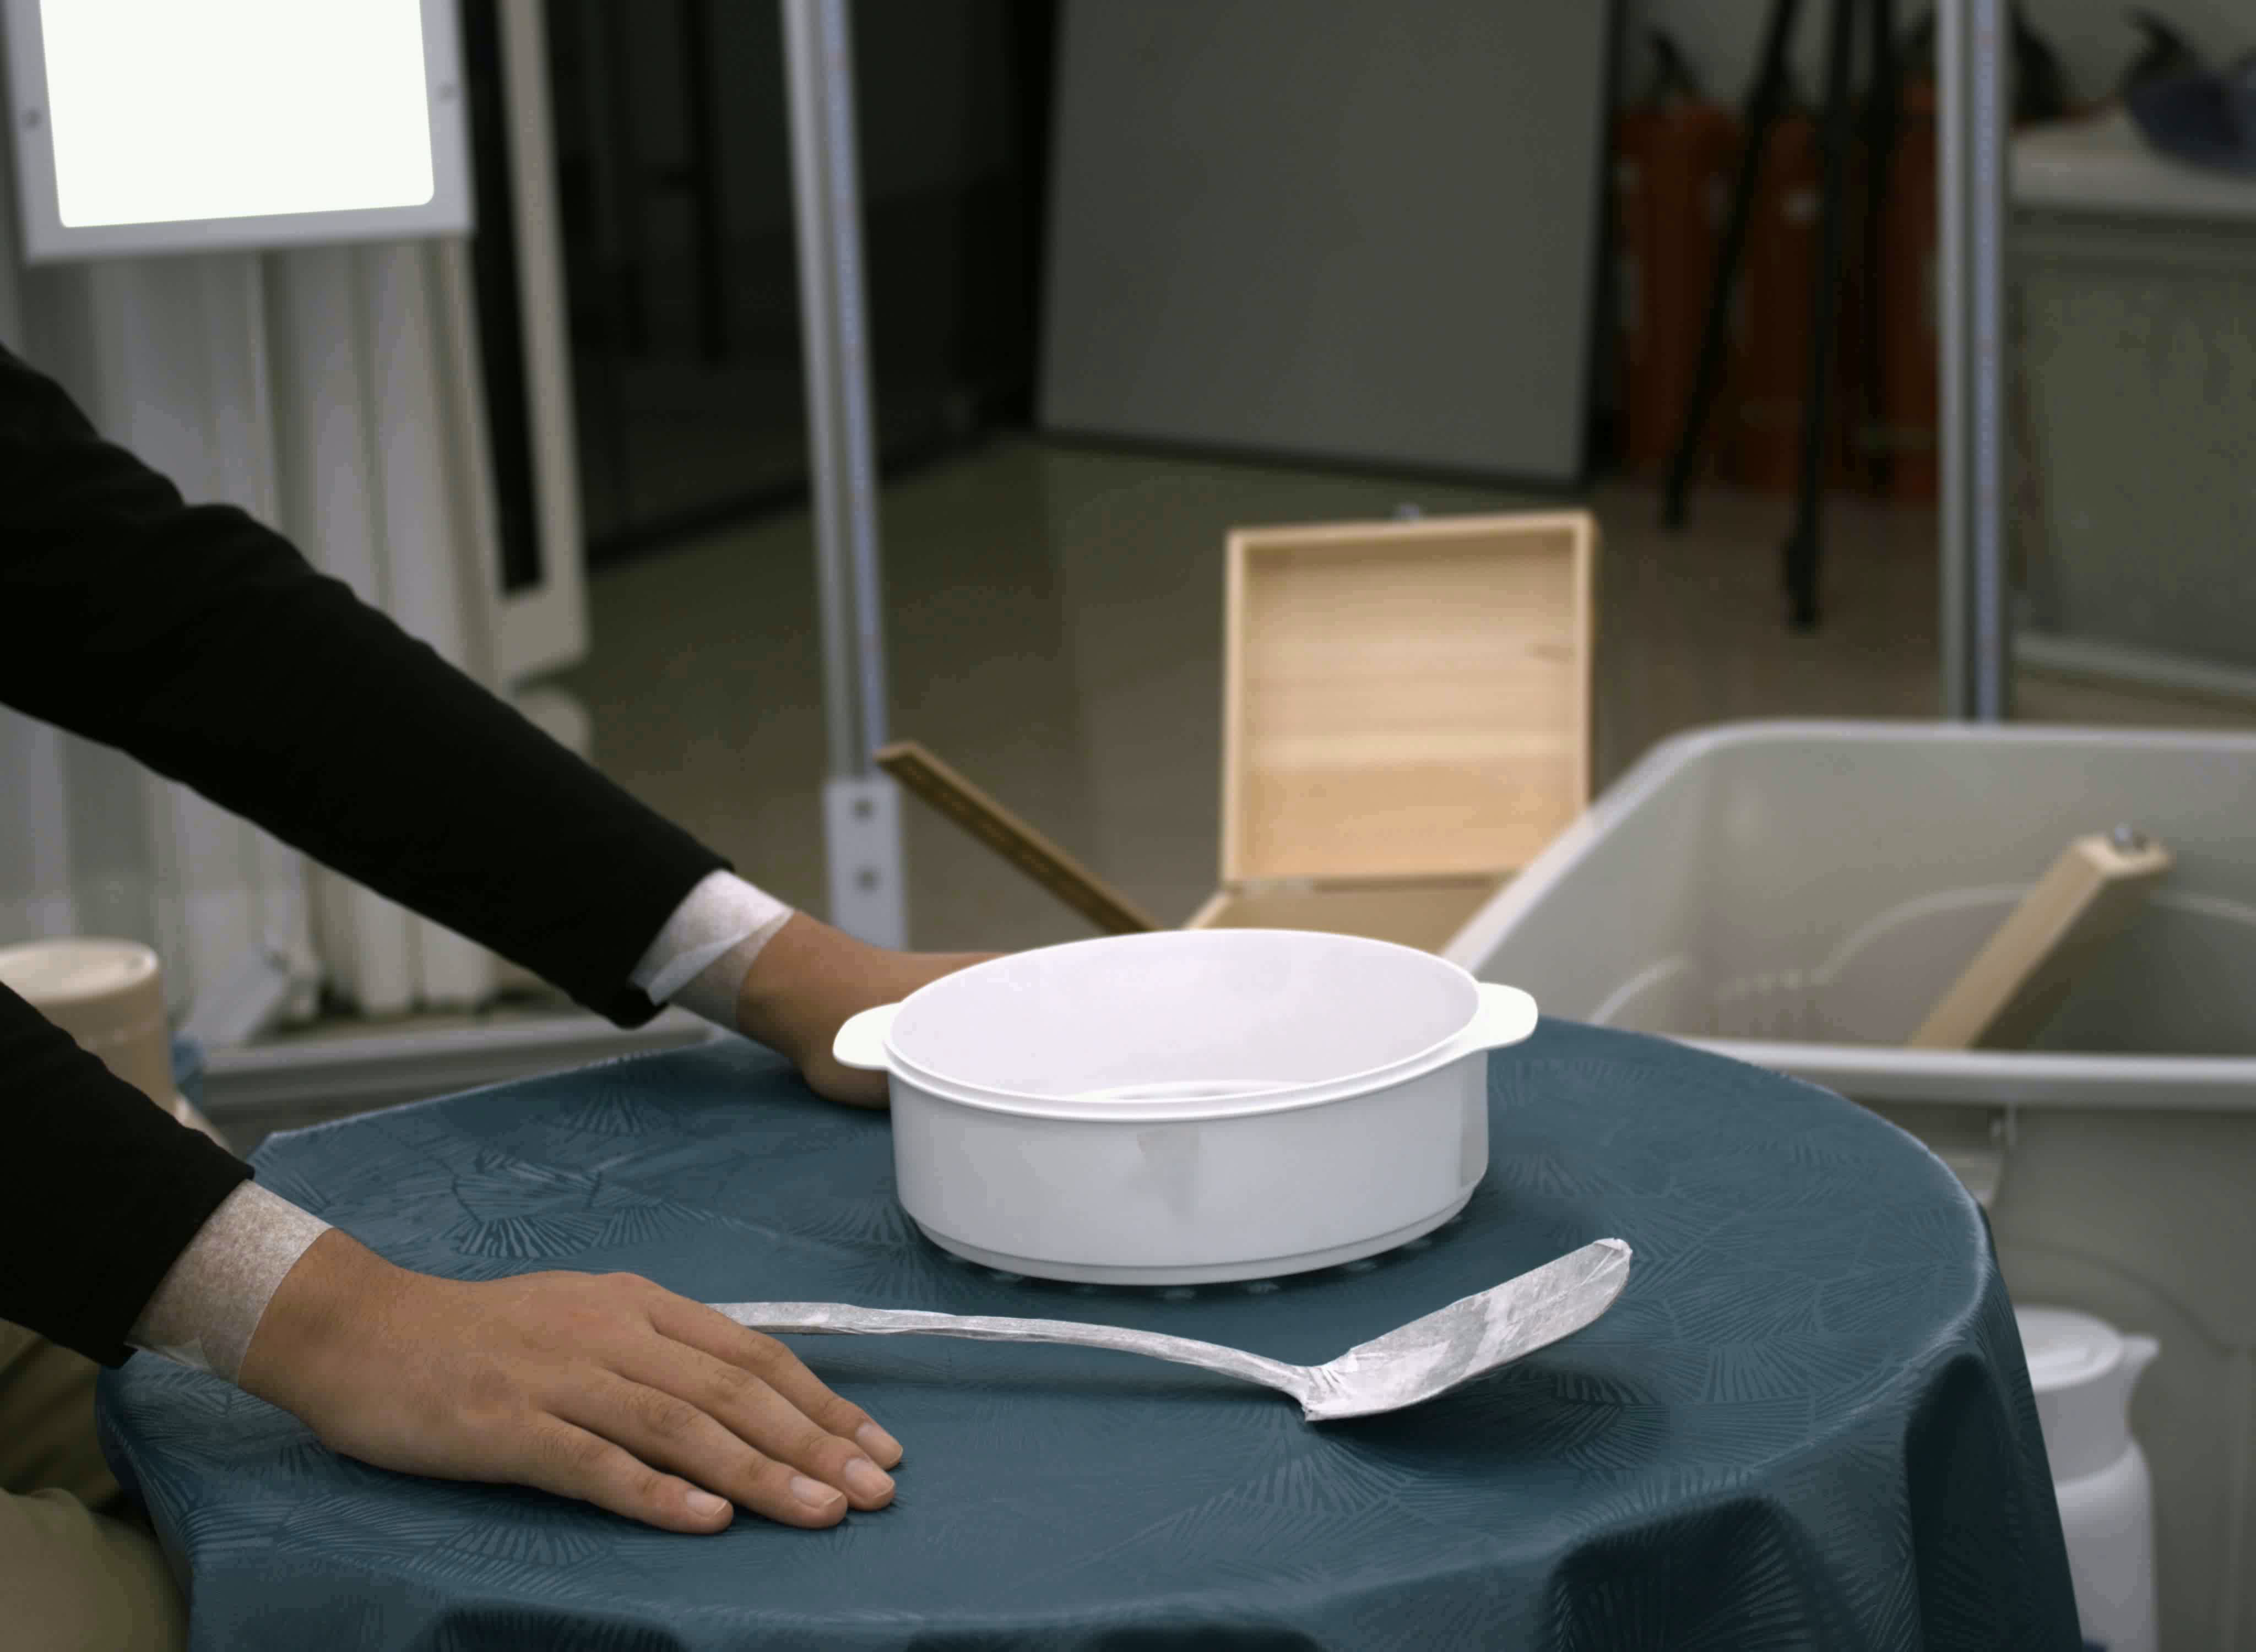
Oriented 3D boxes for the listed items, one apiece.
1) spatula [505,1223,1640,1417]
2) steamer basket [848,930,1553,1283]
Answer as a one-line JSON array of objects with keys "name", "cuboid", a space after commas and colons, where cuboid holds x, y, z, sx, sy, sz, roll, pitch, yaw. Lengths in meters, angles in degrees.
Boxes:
[{"name": "spatula", "cuboid": [-0.026, 0.146, 1.598, 0.364, 0.045, 0.098, 1, 16, 20]}, {"name": "steamer basket", "cuboid": [0.025, 0.090, 1.741, 0.228, 0.070, 0.201, -3, 13, 7]}]
